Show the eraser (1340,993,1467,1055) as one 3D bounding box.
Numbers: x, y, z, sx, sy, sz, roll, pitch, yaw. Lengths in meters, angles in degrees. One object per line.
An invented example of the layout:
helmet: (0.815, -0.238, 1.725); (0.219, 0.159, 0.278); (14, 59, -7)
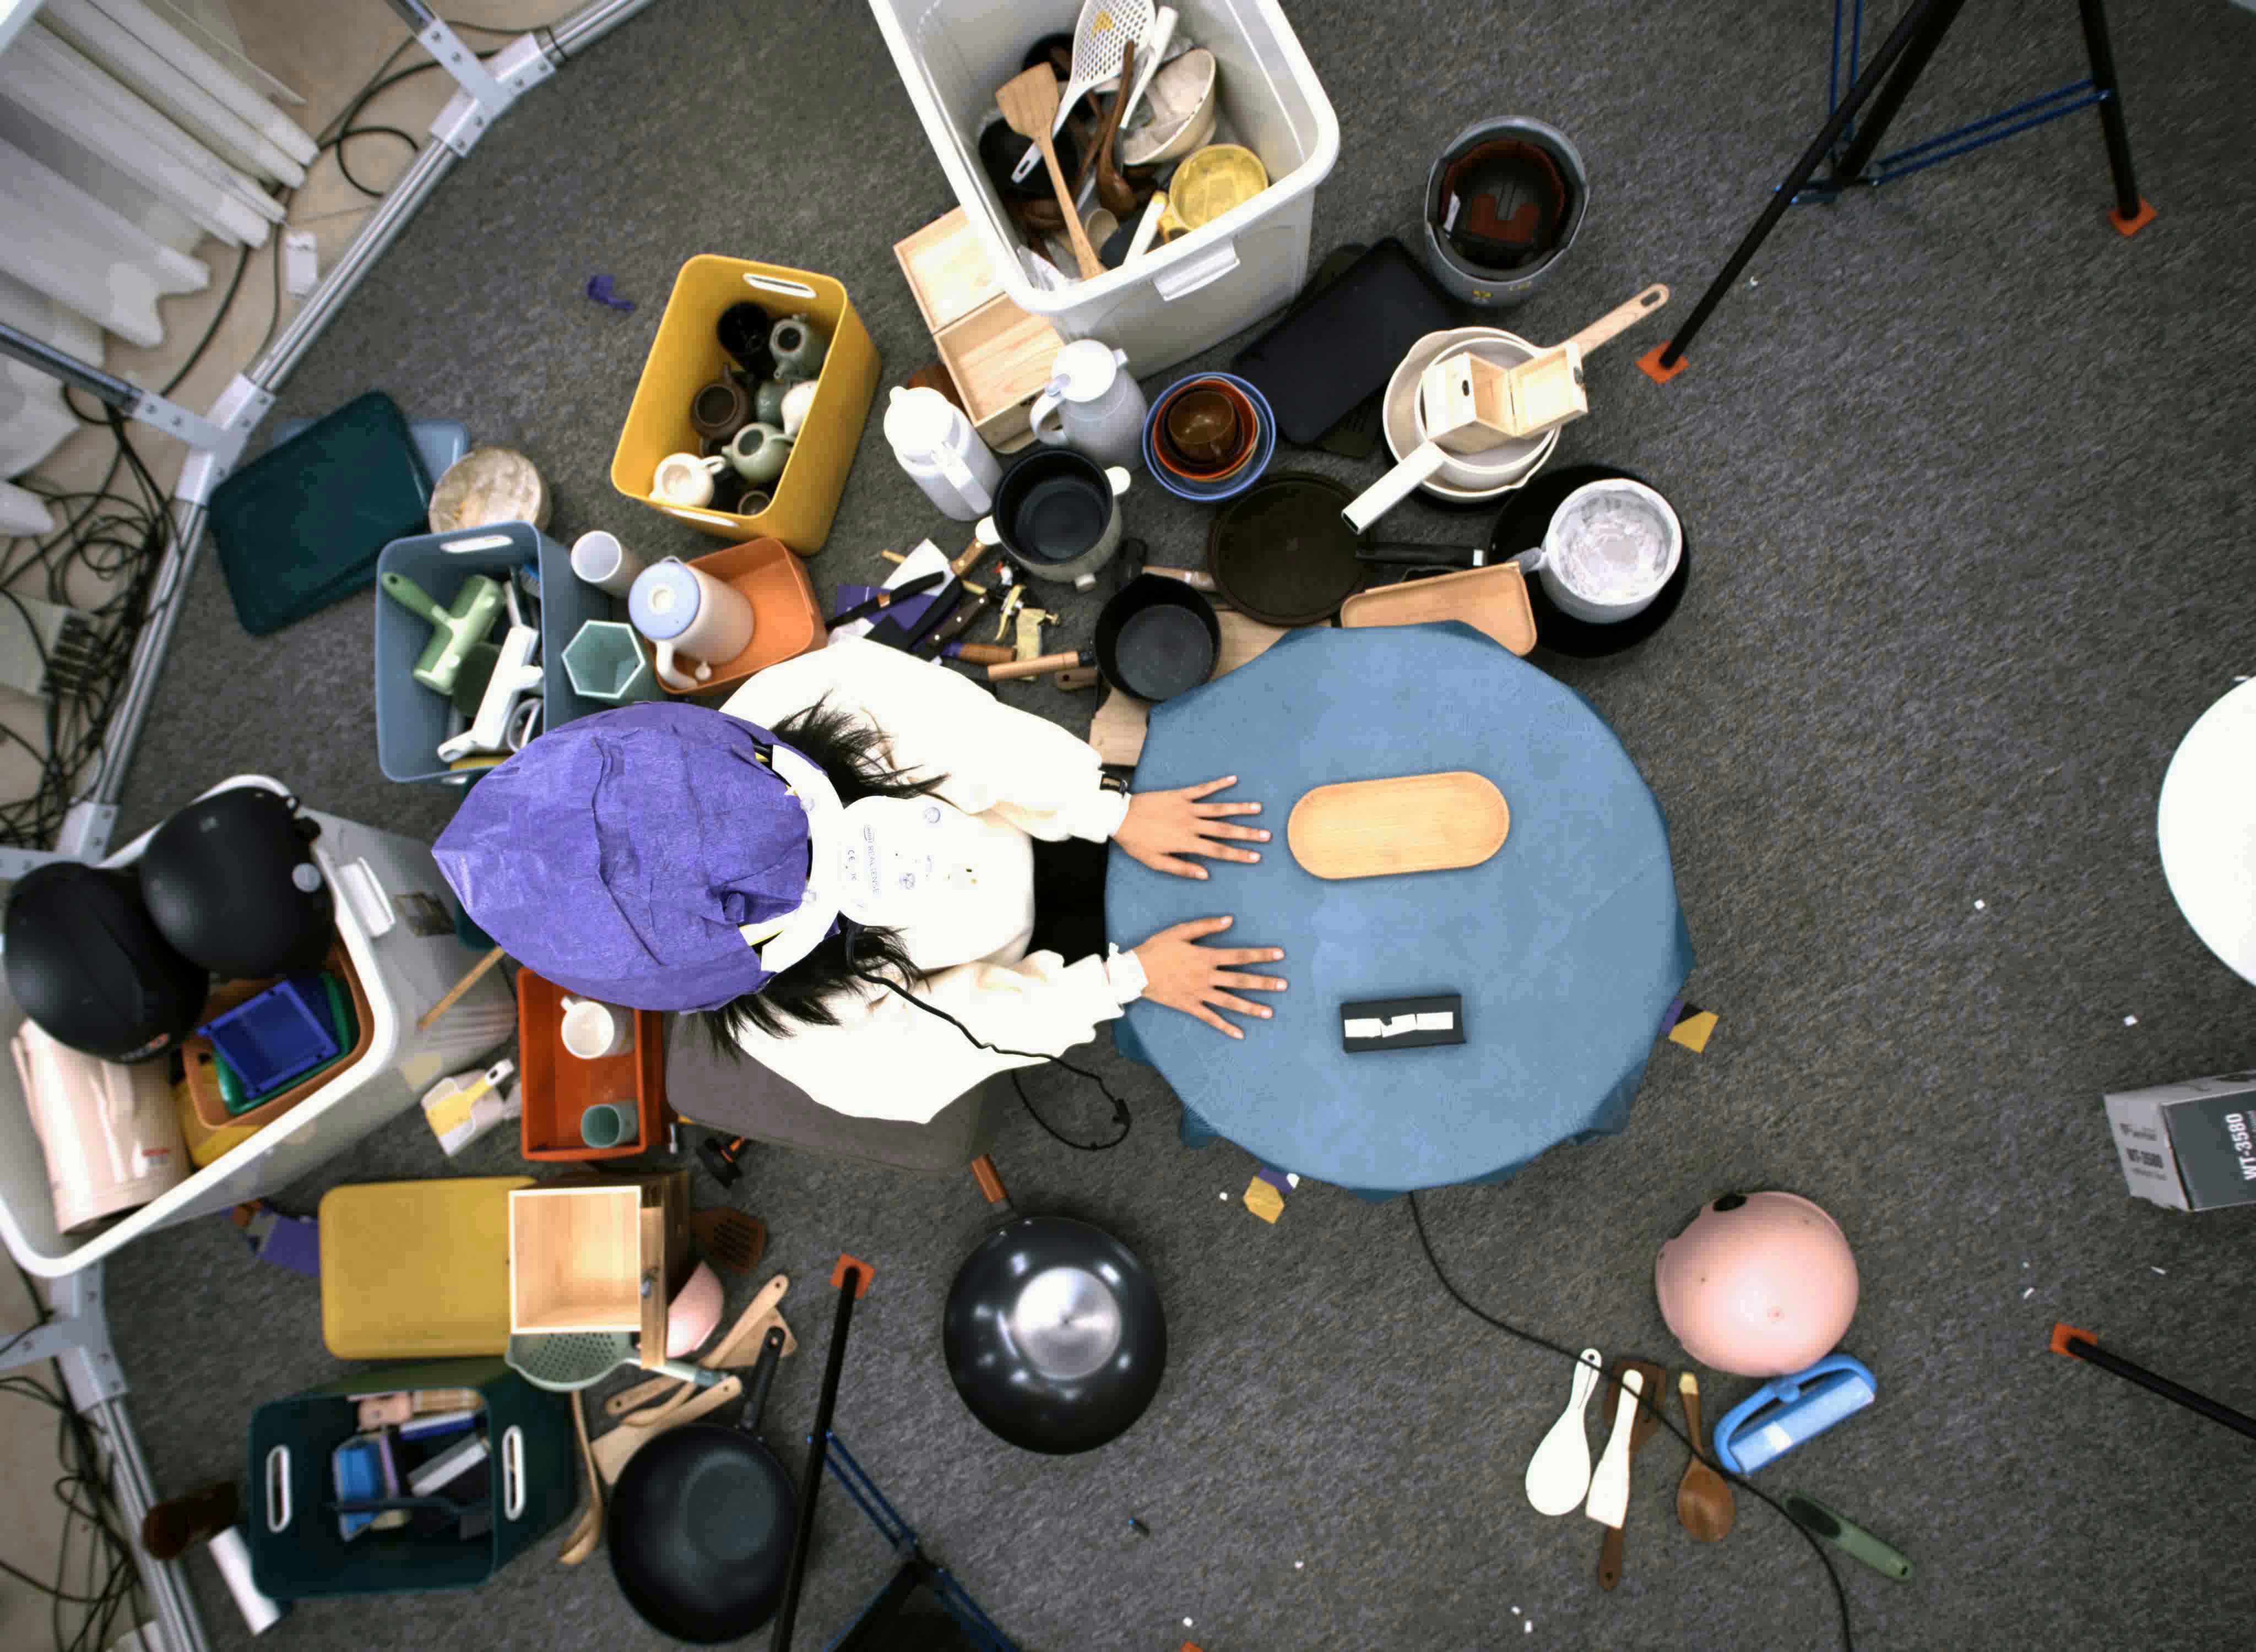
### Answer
eraser: (0.286, 0.204, 1.435); (0.126, 0.030, 0.053); (-7, 79, 9)

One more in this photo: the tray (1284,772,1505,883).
tray: (0.280, 0.001, 1.454); (0.232, 0.020, 0.101); (-8, 85, 12)
